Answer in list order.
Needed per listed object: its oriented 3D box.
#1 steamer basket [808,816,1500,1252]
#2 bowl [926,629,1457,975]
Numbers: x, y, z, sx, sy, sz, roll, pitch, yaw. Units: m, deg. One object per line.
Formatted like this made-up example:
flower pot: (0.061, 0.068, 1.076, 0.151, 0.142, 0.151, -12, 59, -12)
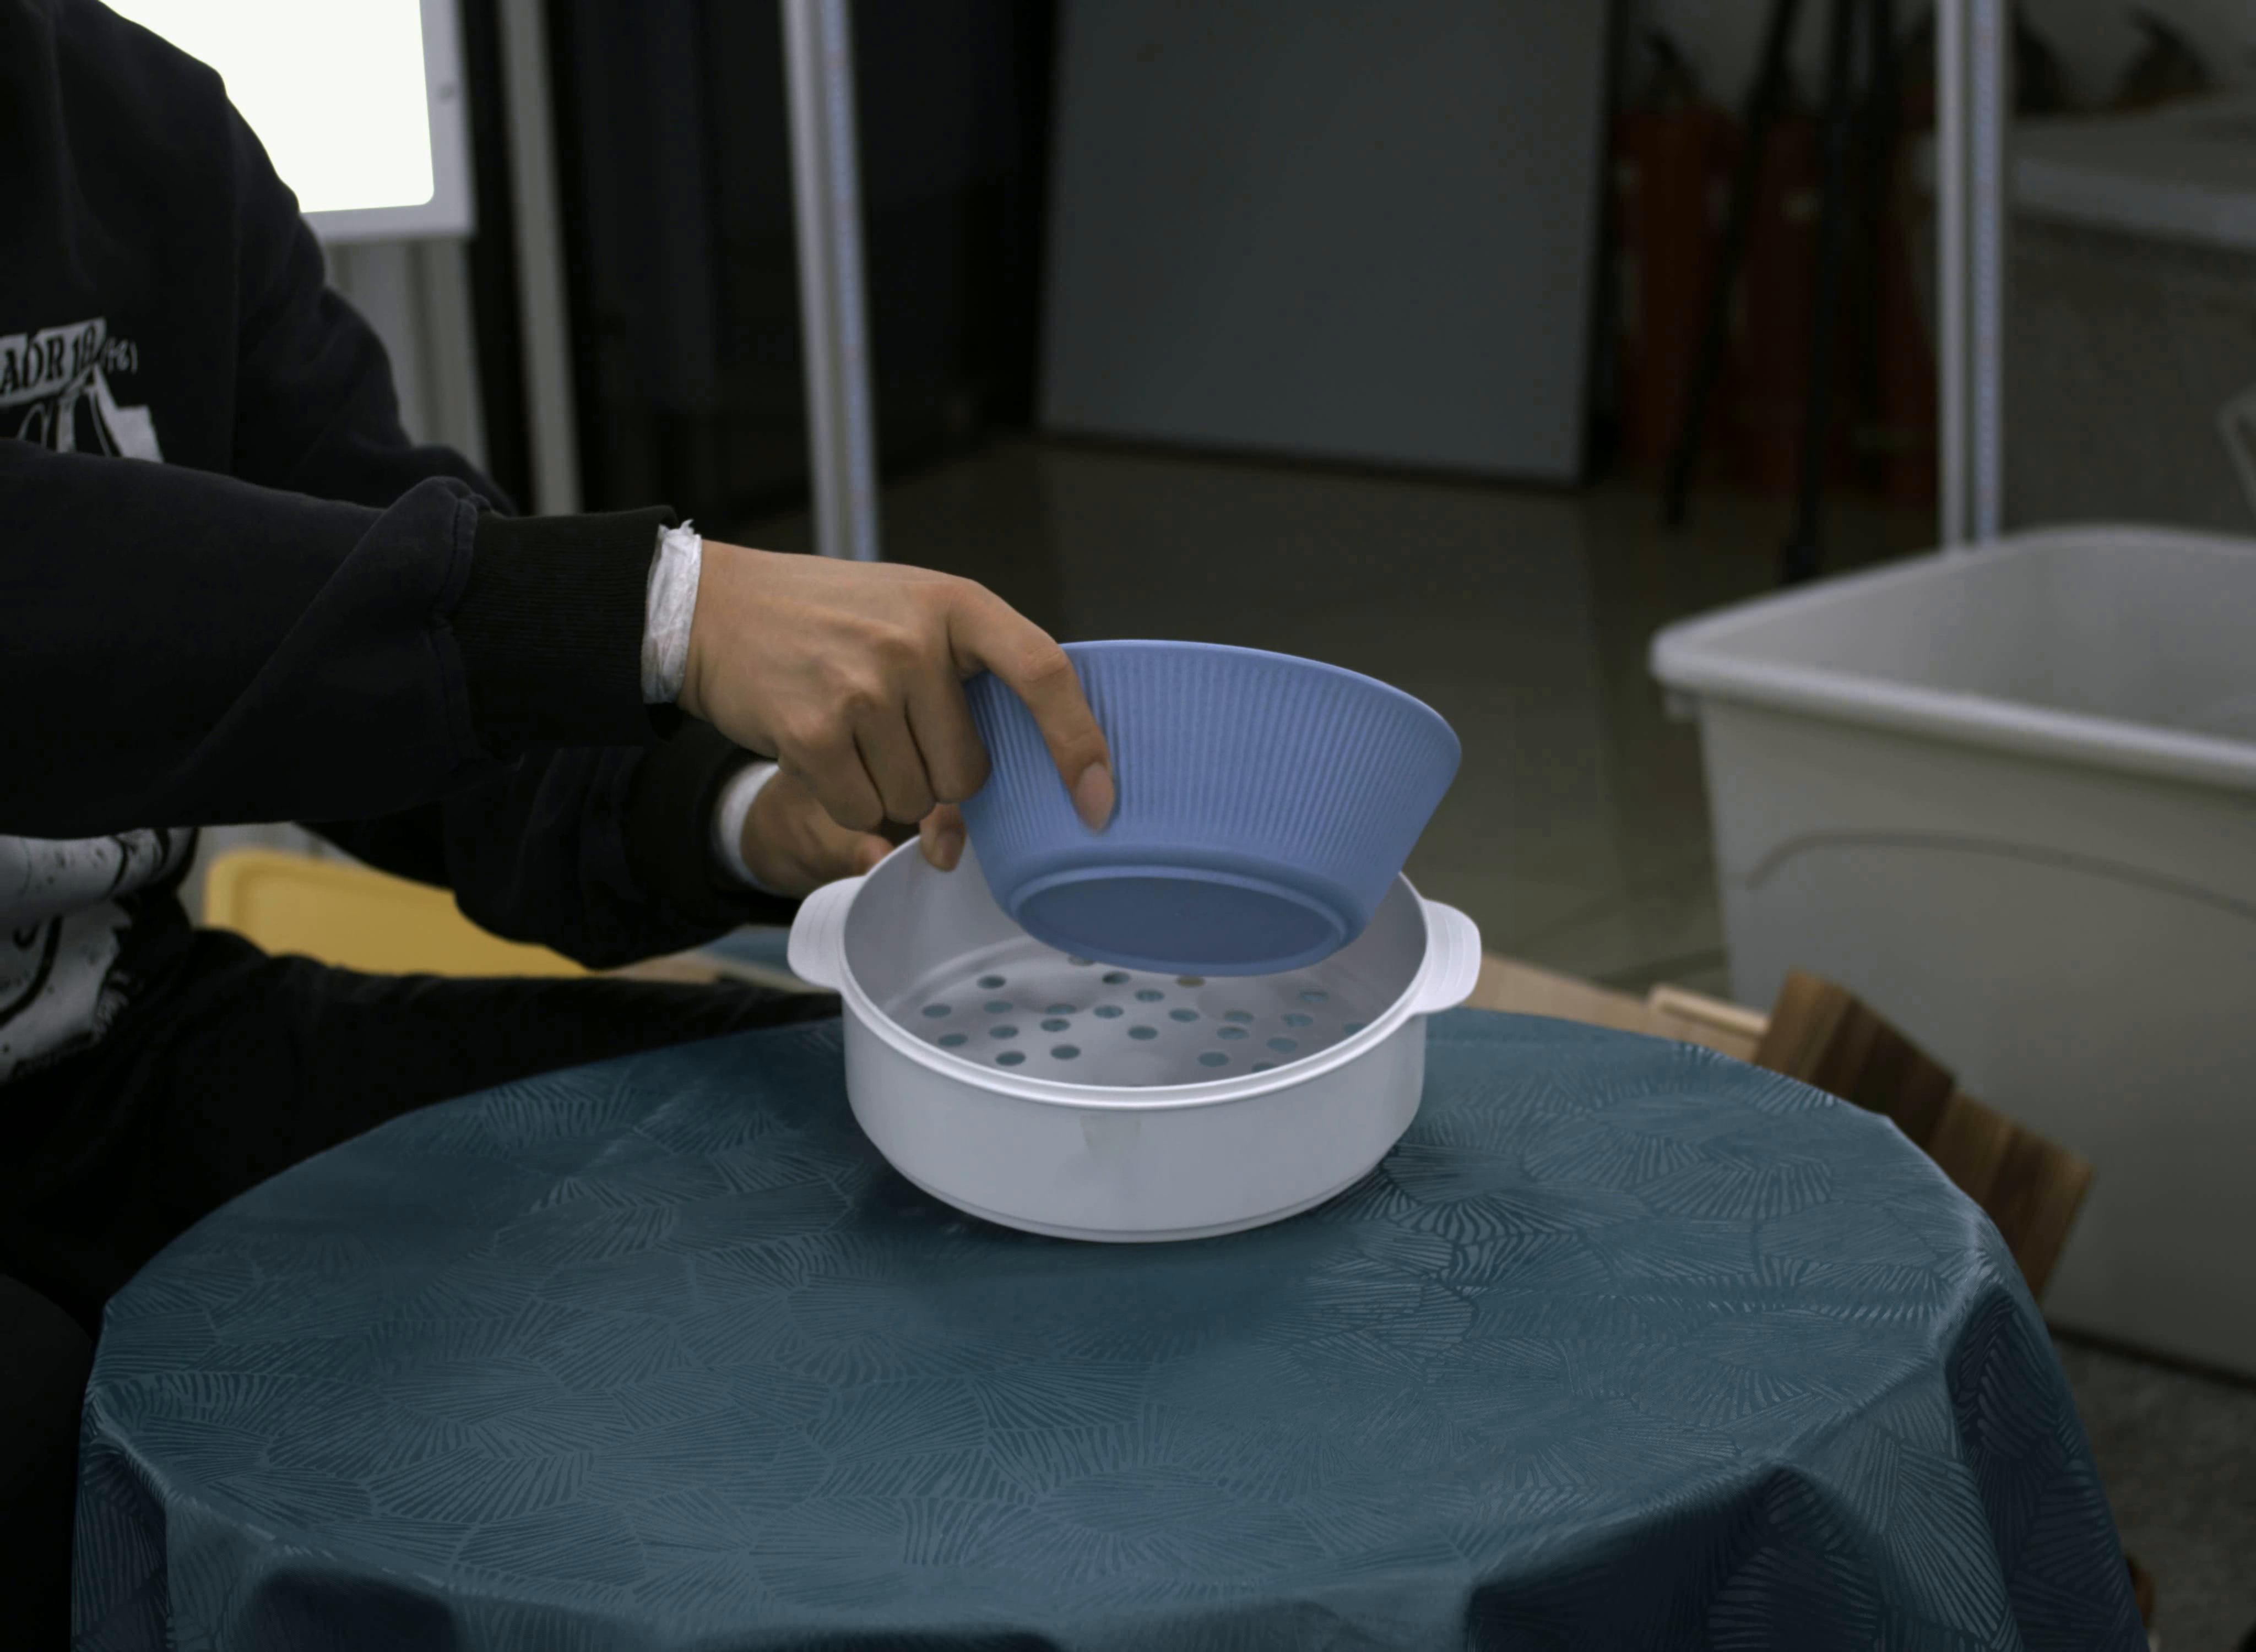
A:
steamer basket: (0.008, 0.062, 1.783, 0.228, 0.070, 0.202, 4, 30, 4)
bowl: (0.018, -0.001, 1.744, 0.174, 0.071, 0.176, 5, -20, 1)
